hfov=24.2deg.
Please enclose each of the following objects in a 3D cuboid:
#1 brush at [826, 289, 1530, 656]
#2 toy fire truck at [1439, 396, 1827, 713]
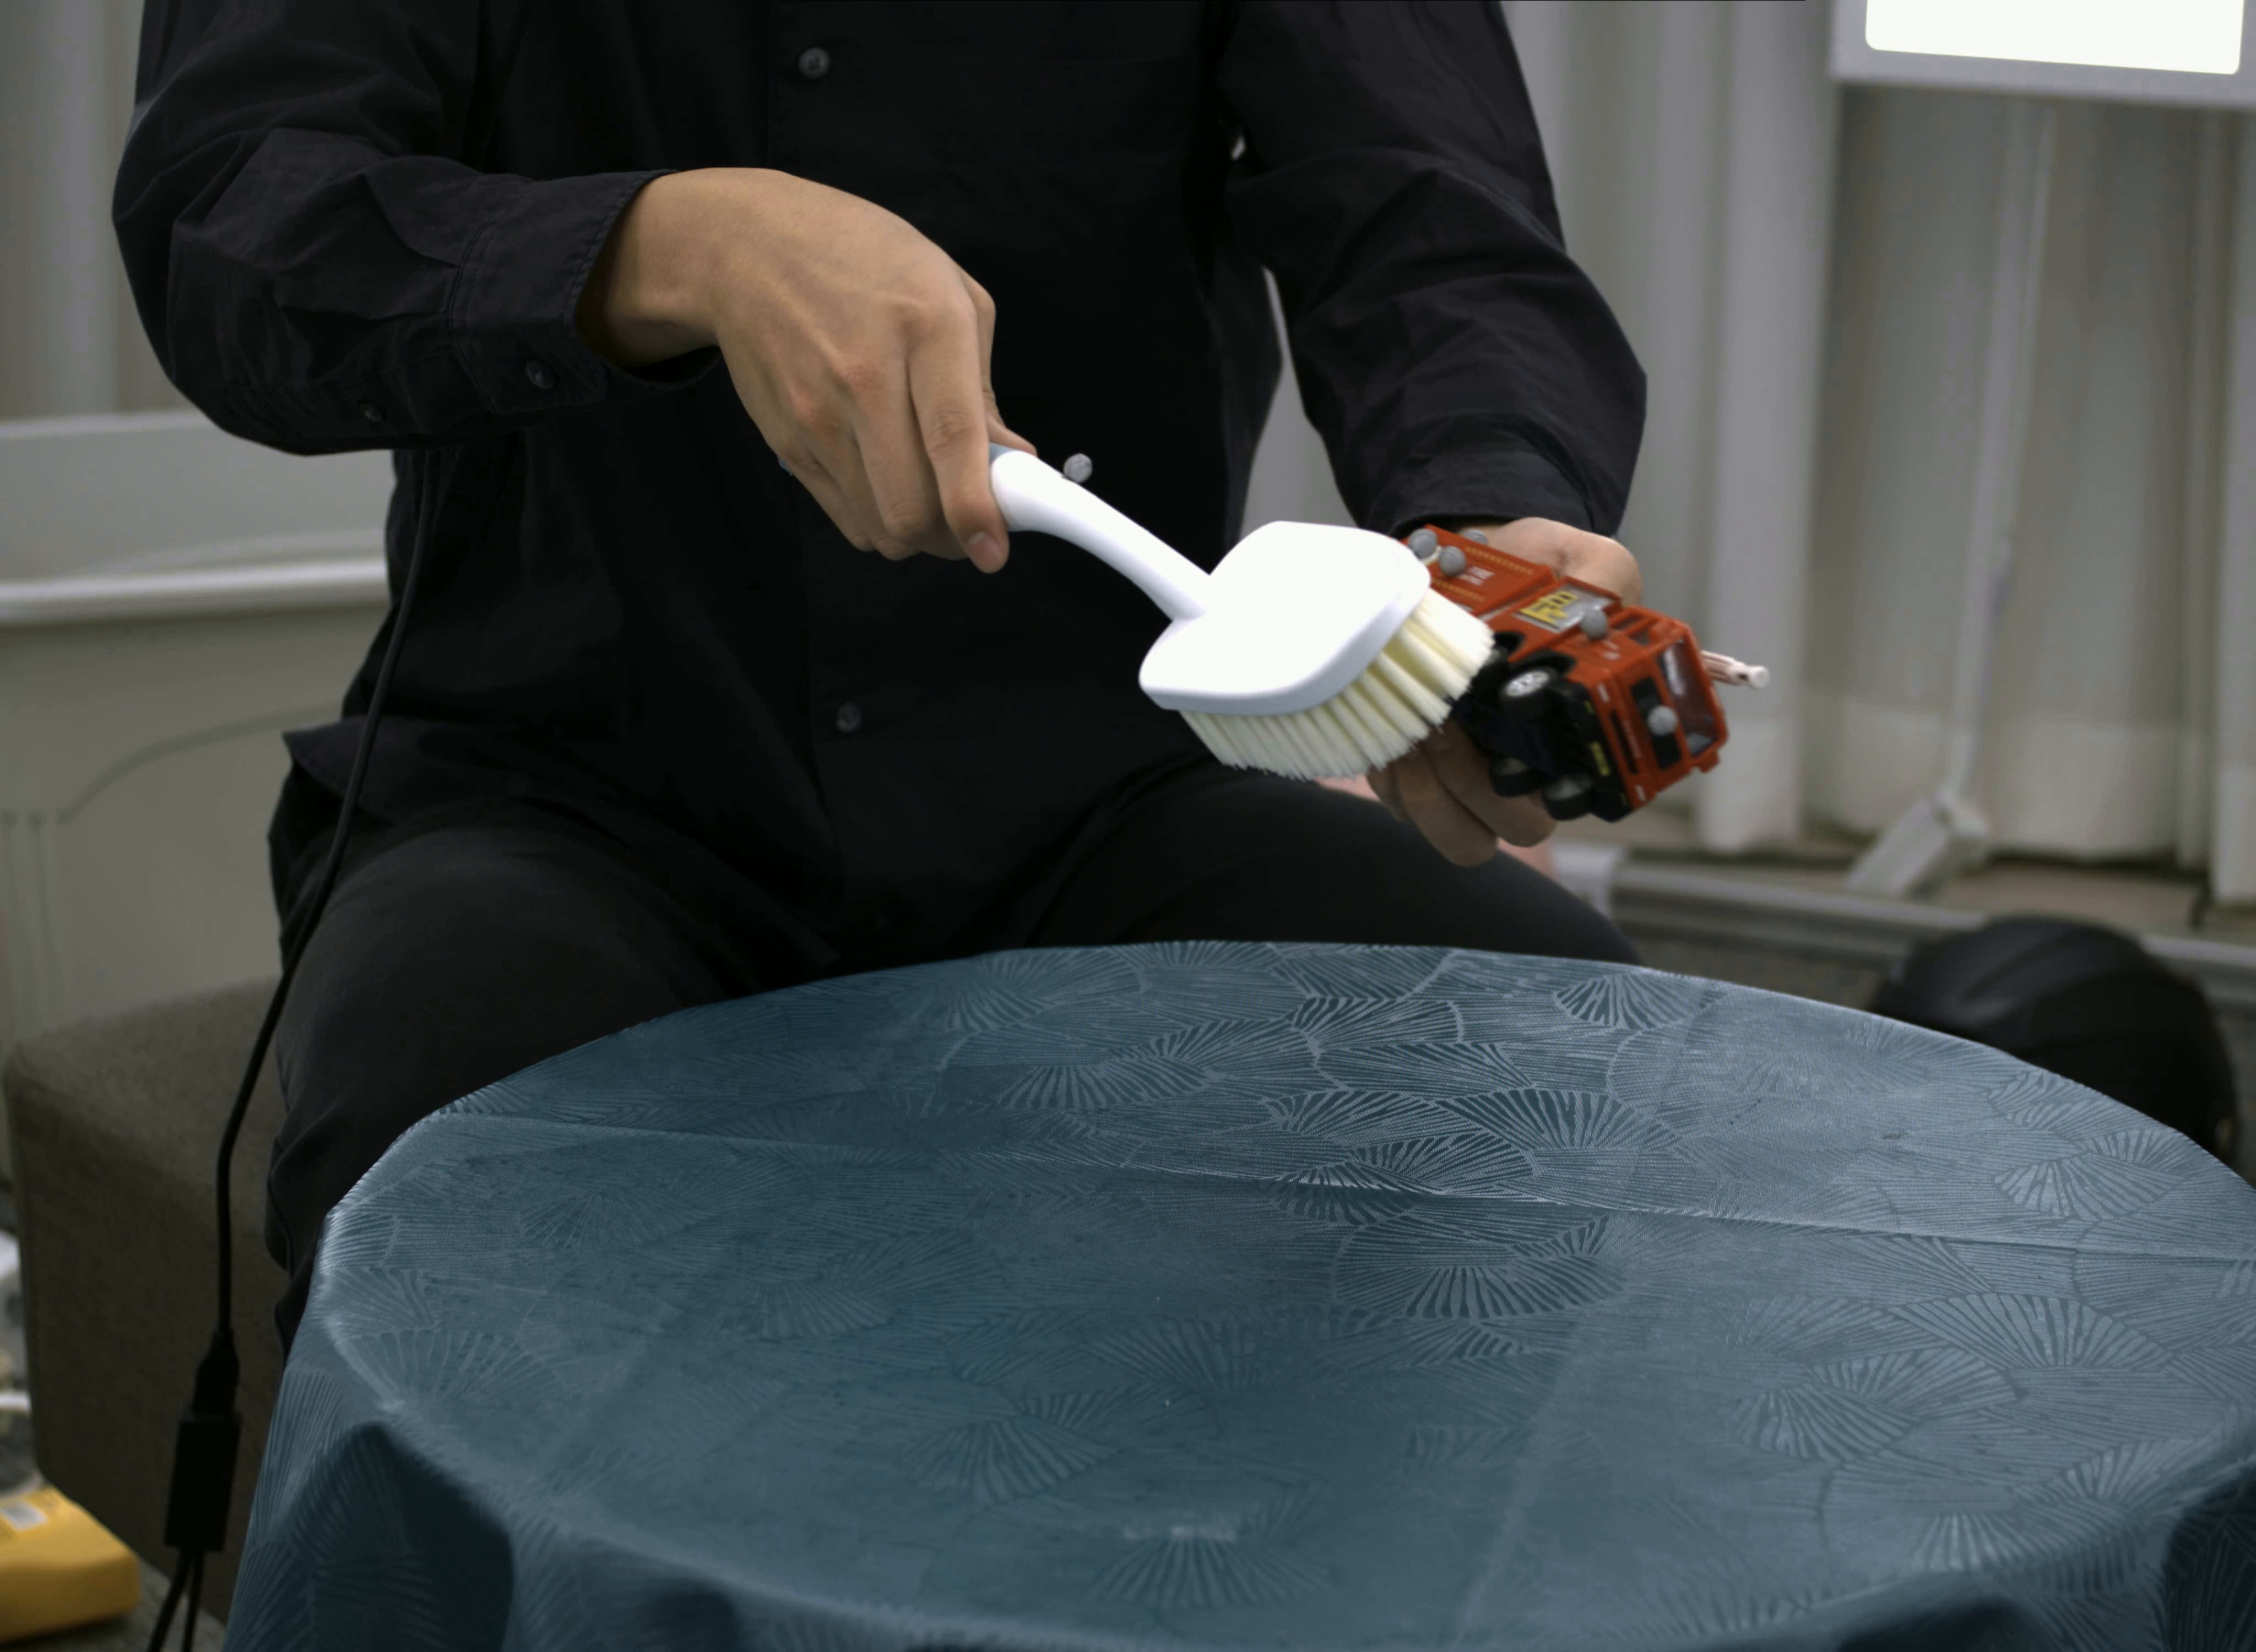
[{"bbox_3d":[0.019,-0.111,1.626,0.083,0.085,0.321,-18,23,-31],"label":"brush"},{"bbox_3d":[0.133,-0.082,1.551,0.070,0.054,0.166,-30,25,-18],"label":"toy fire truck"}]
